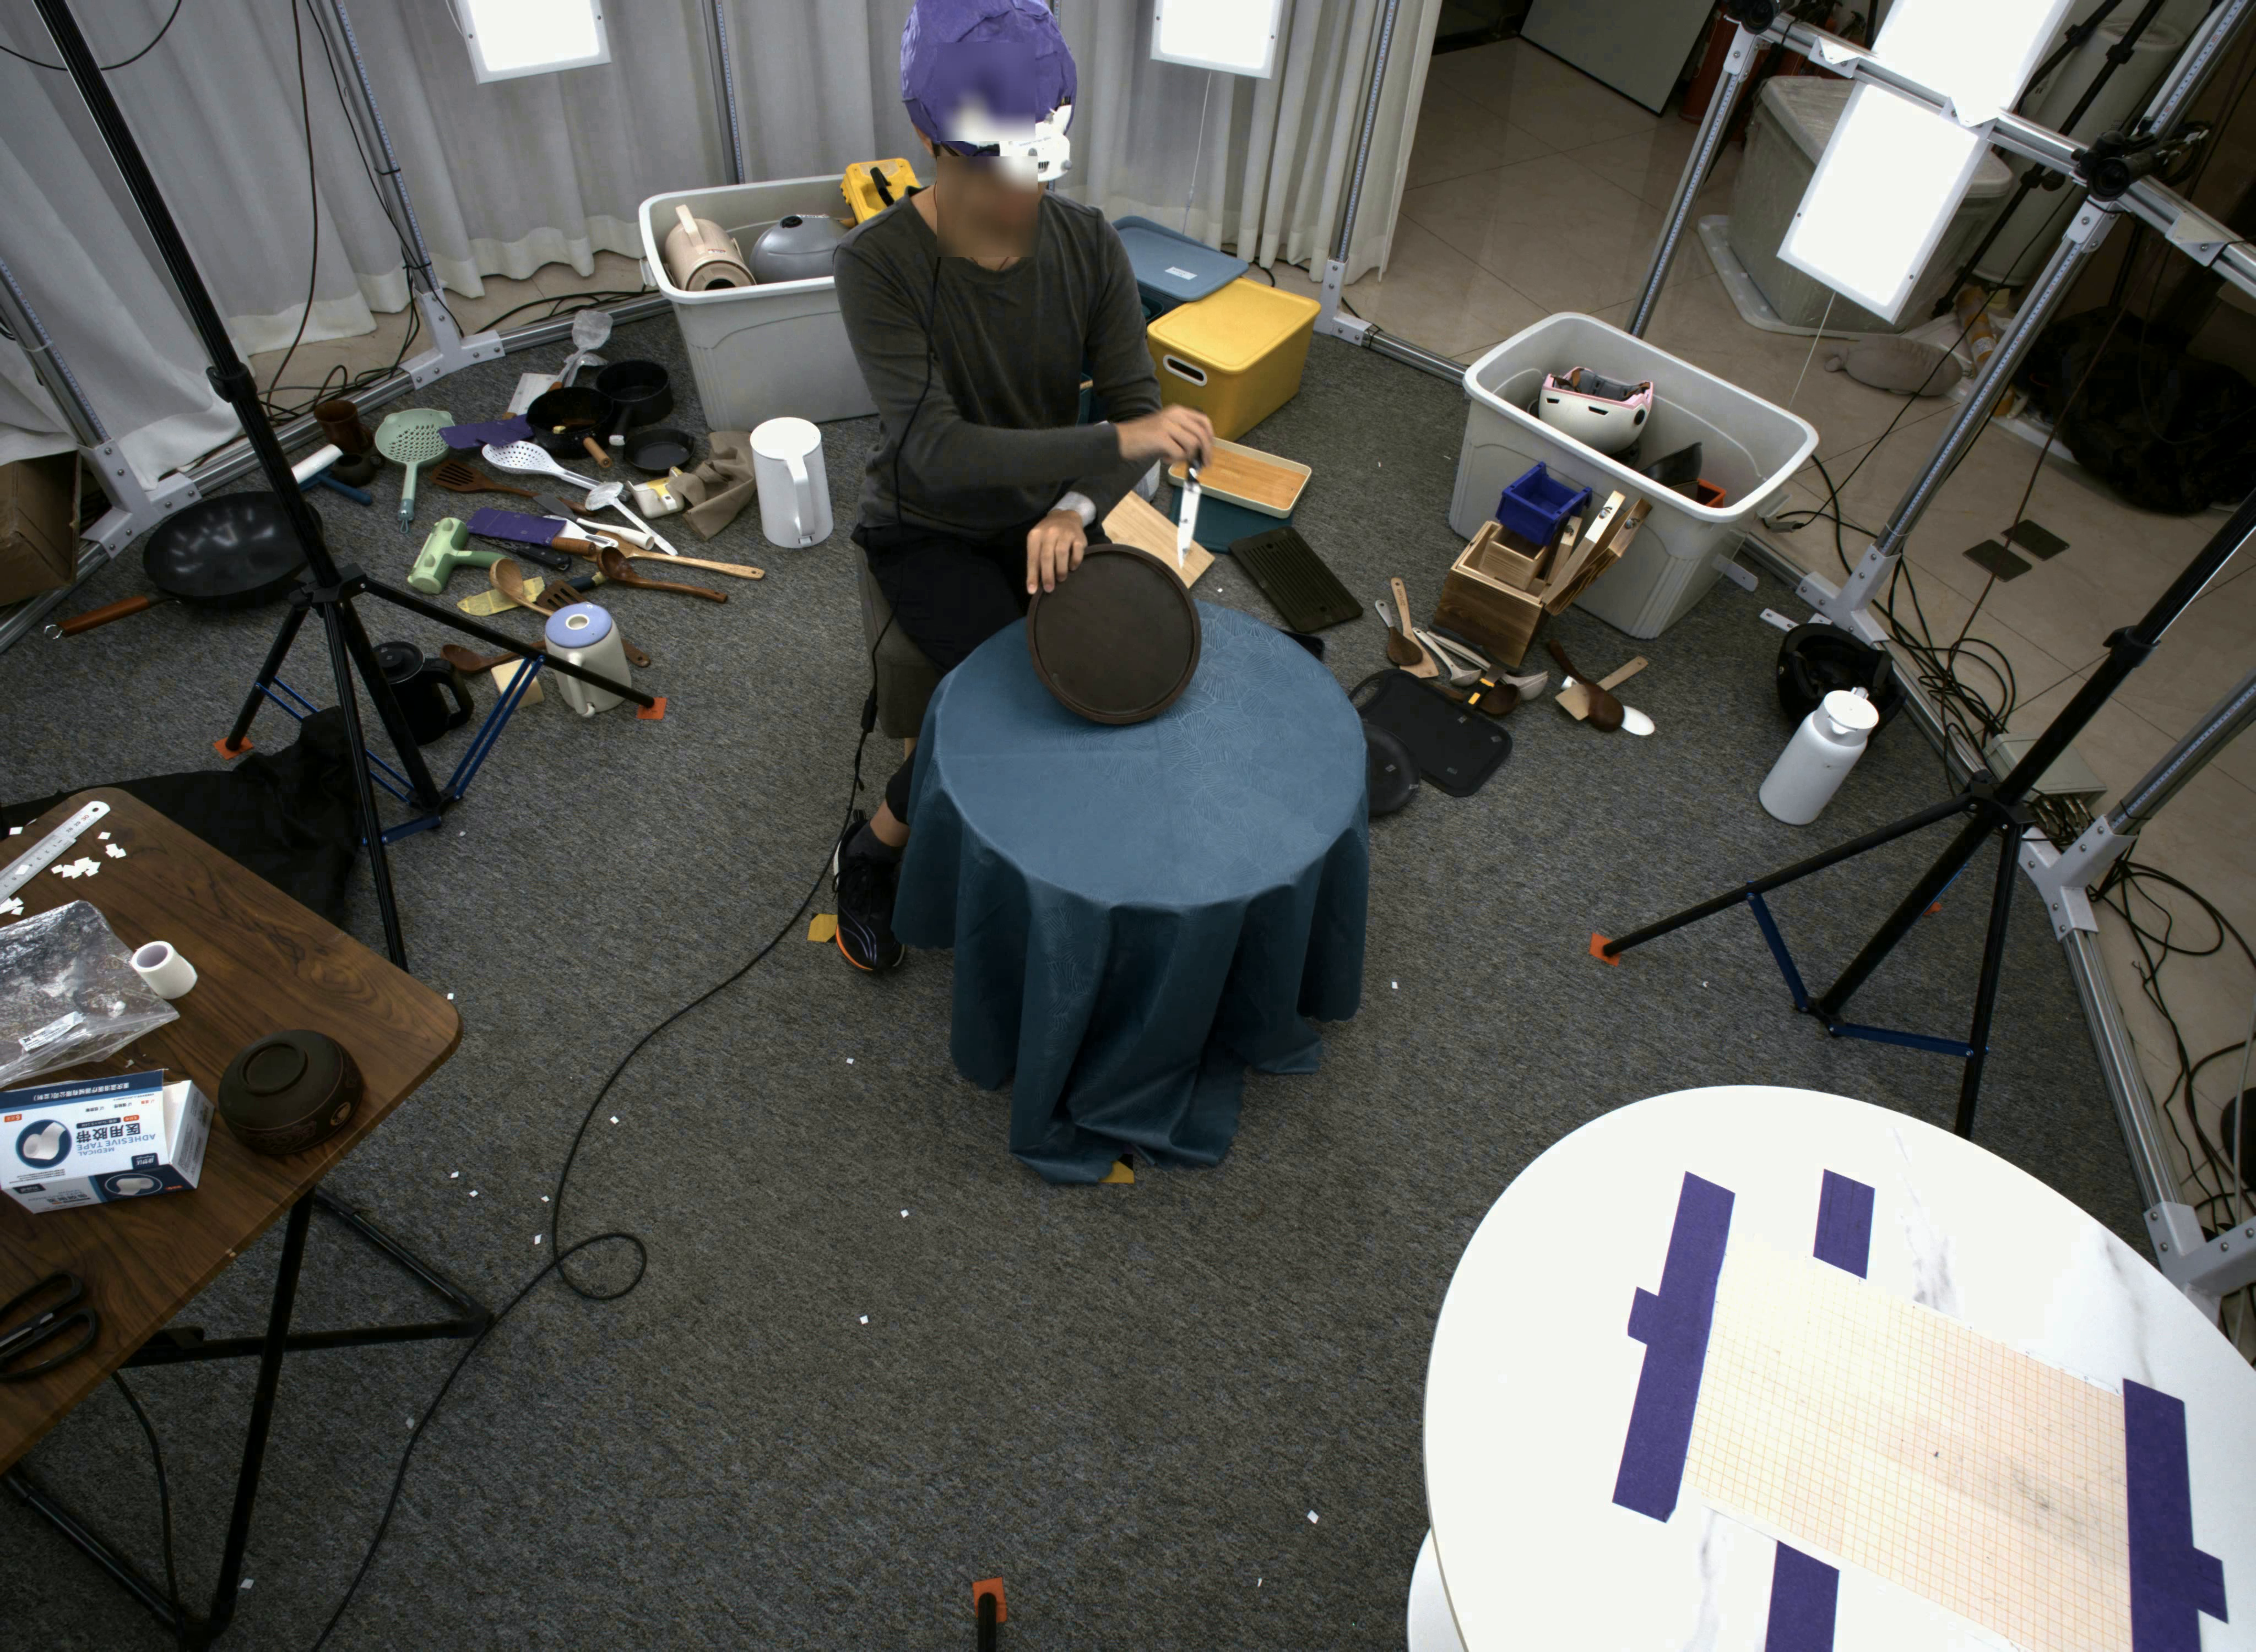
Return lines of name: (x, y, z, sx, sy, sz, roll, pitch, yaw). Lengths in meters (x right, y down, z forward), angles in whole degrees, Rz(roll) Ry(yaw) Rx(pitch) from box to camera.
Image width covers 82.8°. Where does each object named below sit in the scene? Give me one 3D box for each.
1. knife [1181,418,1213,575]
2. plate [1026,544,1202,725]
knife: (0.093, -0.463, 1.805, 0.024, 0.016, 0.241, 12, 76, -10)
plate: (-0.020, -0.267, 1.796, 0.254, 0.029, 0.256, 1, 85, -15)
